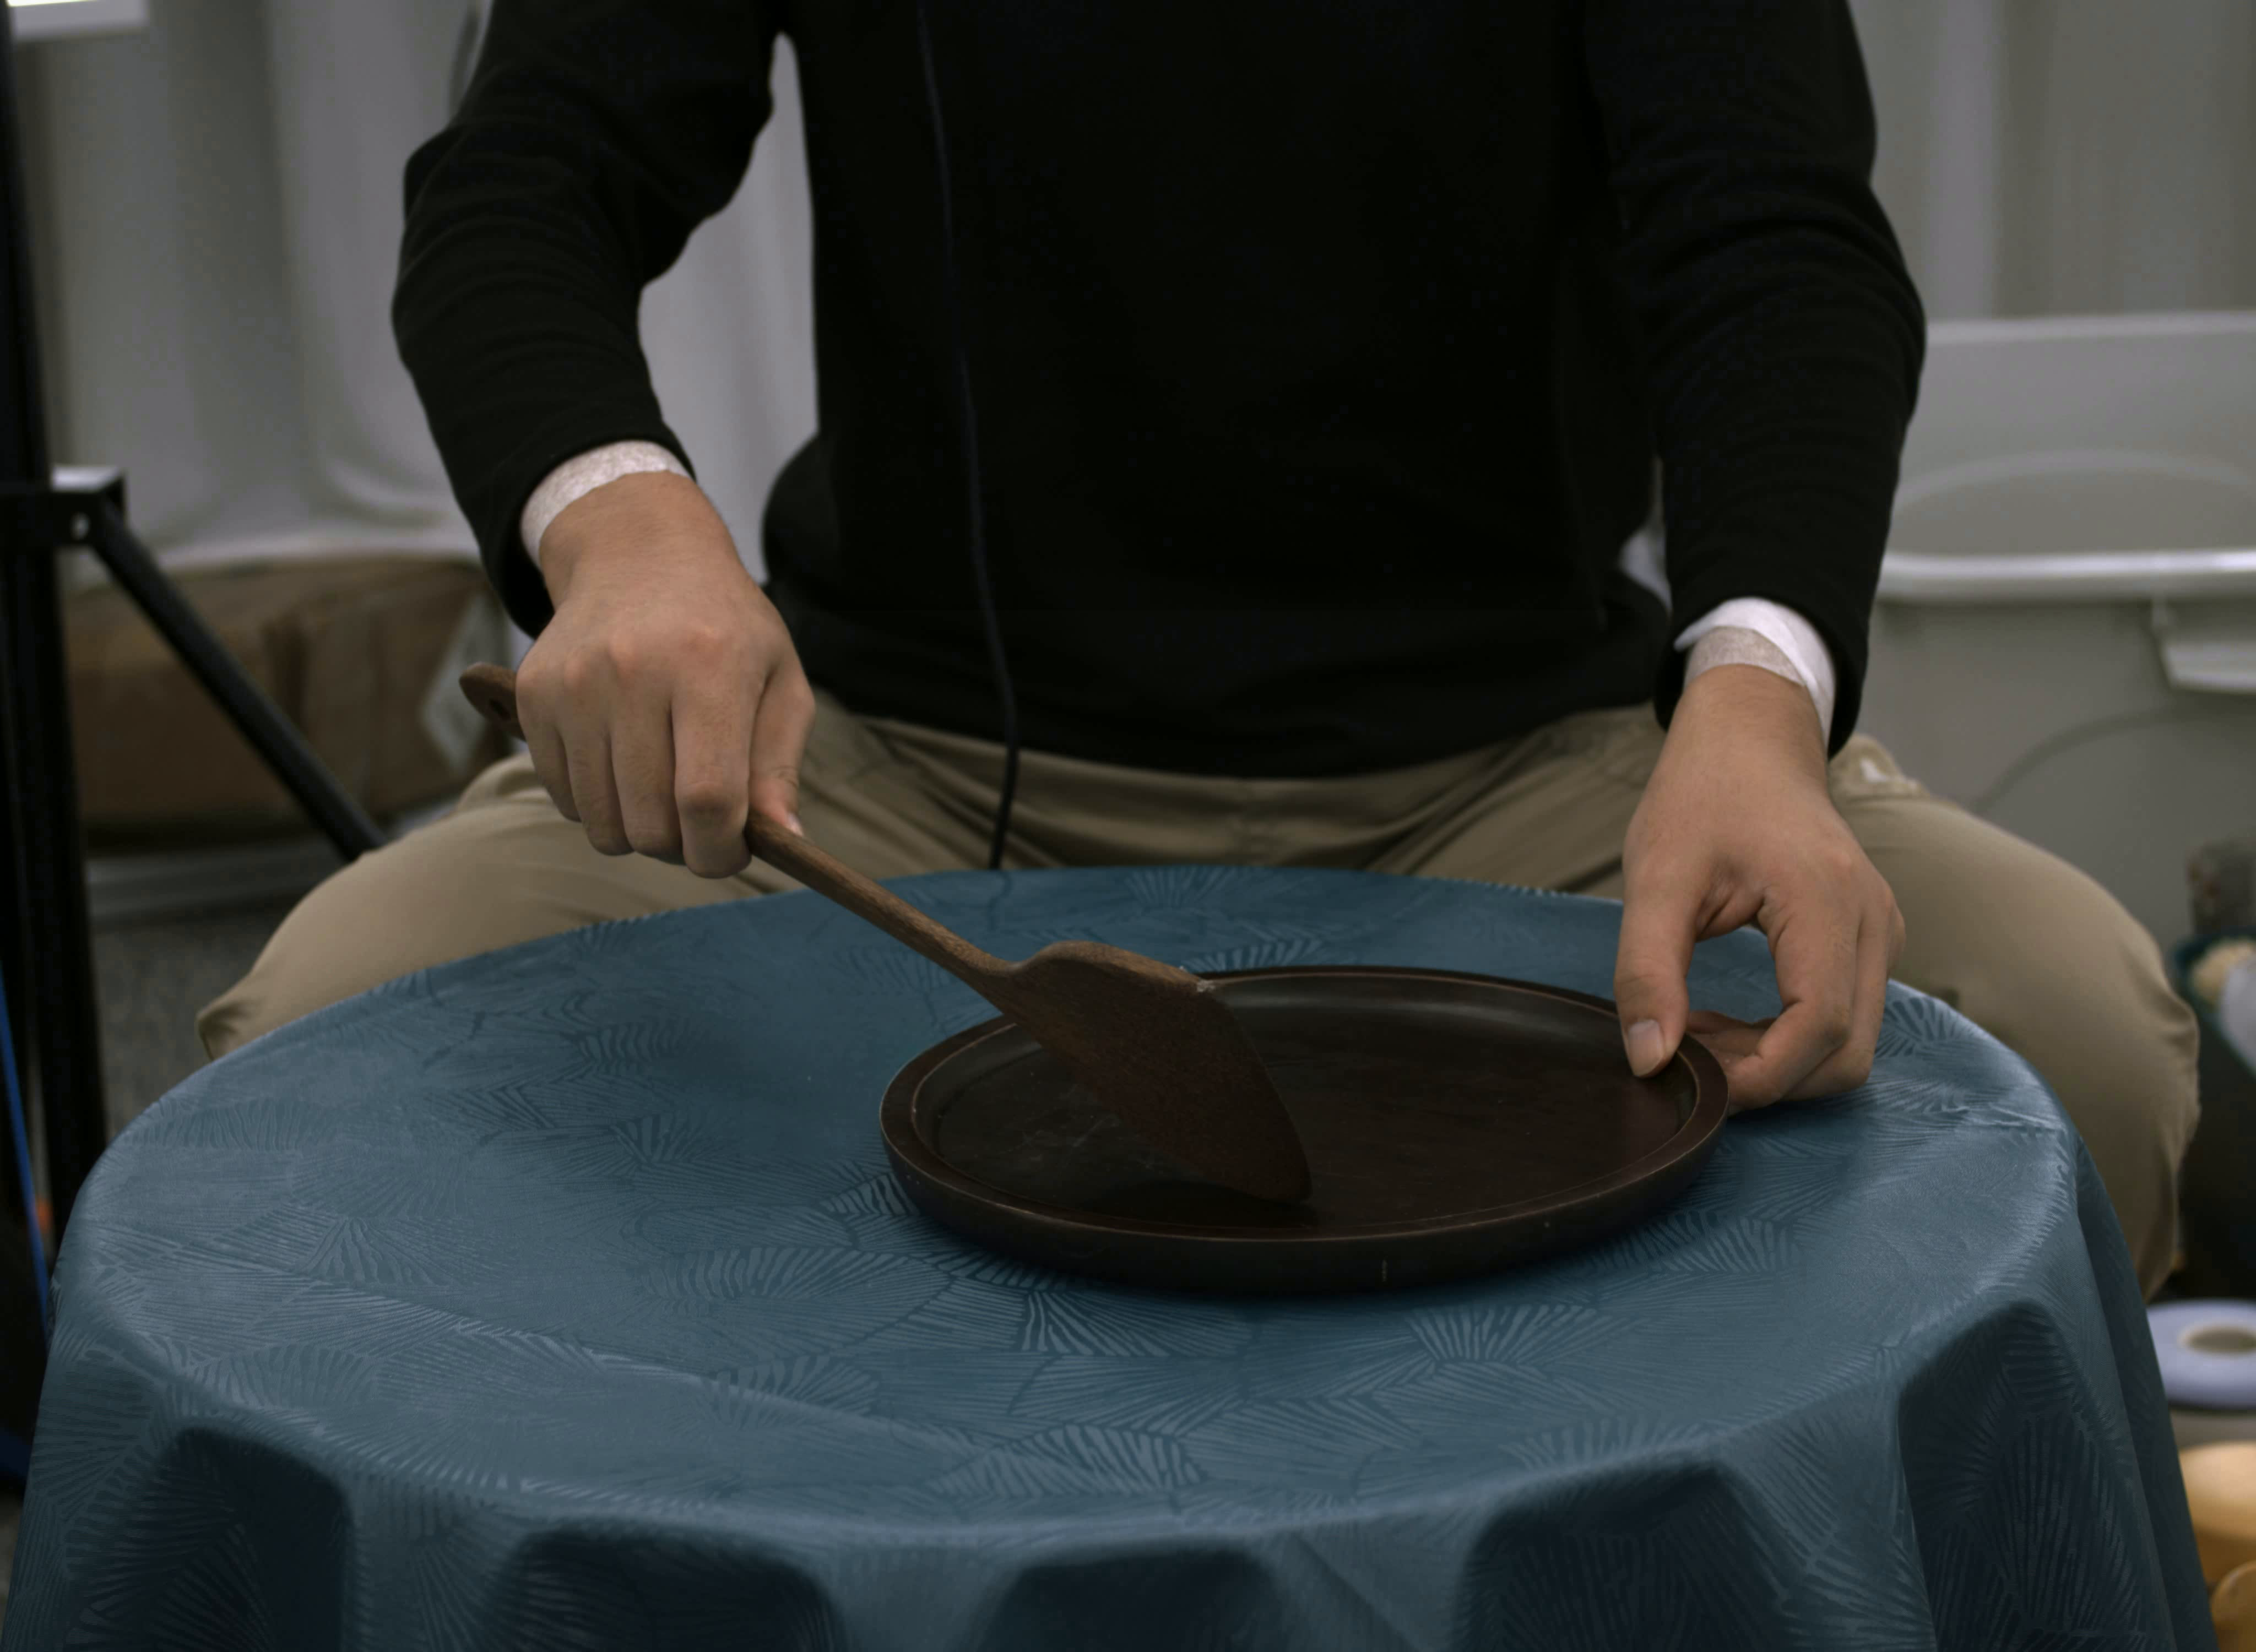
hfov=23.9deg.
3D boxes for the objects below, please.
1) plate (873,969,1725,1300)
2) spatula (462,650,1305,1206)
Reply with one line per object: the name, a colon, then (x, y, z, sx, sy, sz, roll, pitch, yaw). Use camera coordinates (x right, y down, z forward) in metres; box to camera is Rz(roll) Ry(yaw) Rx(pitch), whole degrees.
plate: (0.051, 0.089, 1.573, 0.253, 0.029, 0.256, -4, 15, 0)
spatula: (-0.084, 0.016, 1.597, 0.015, 0.094, 0.395, -41, 43, -21)
